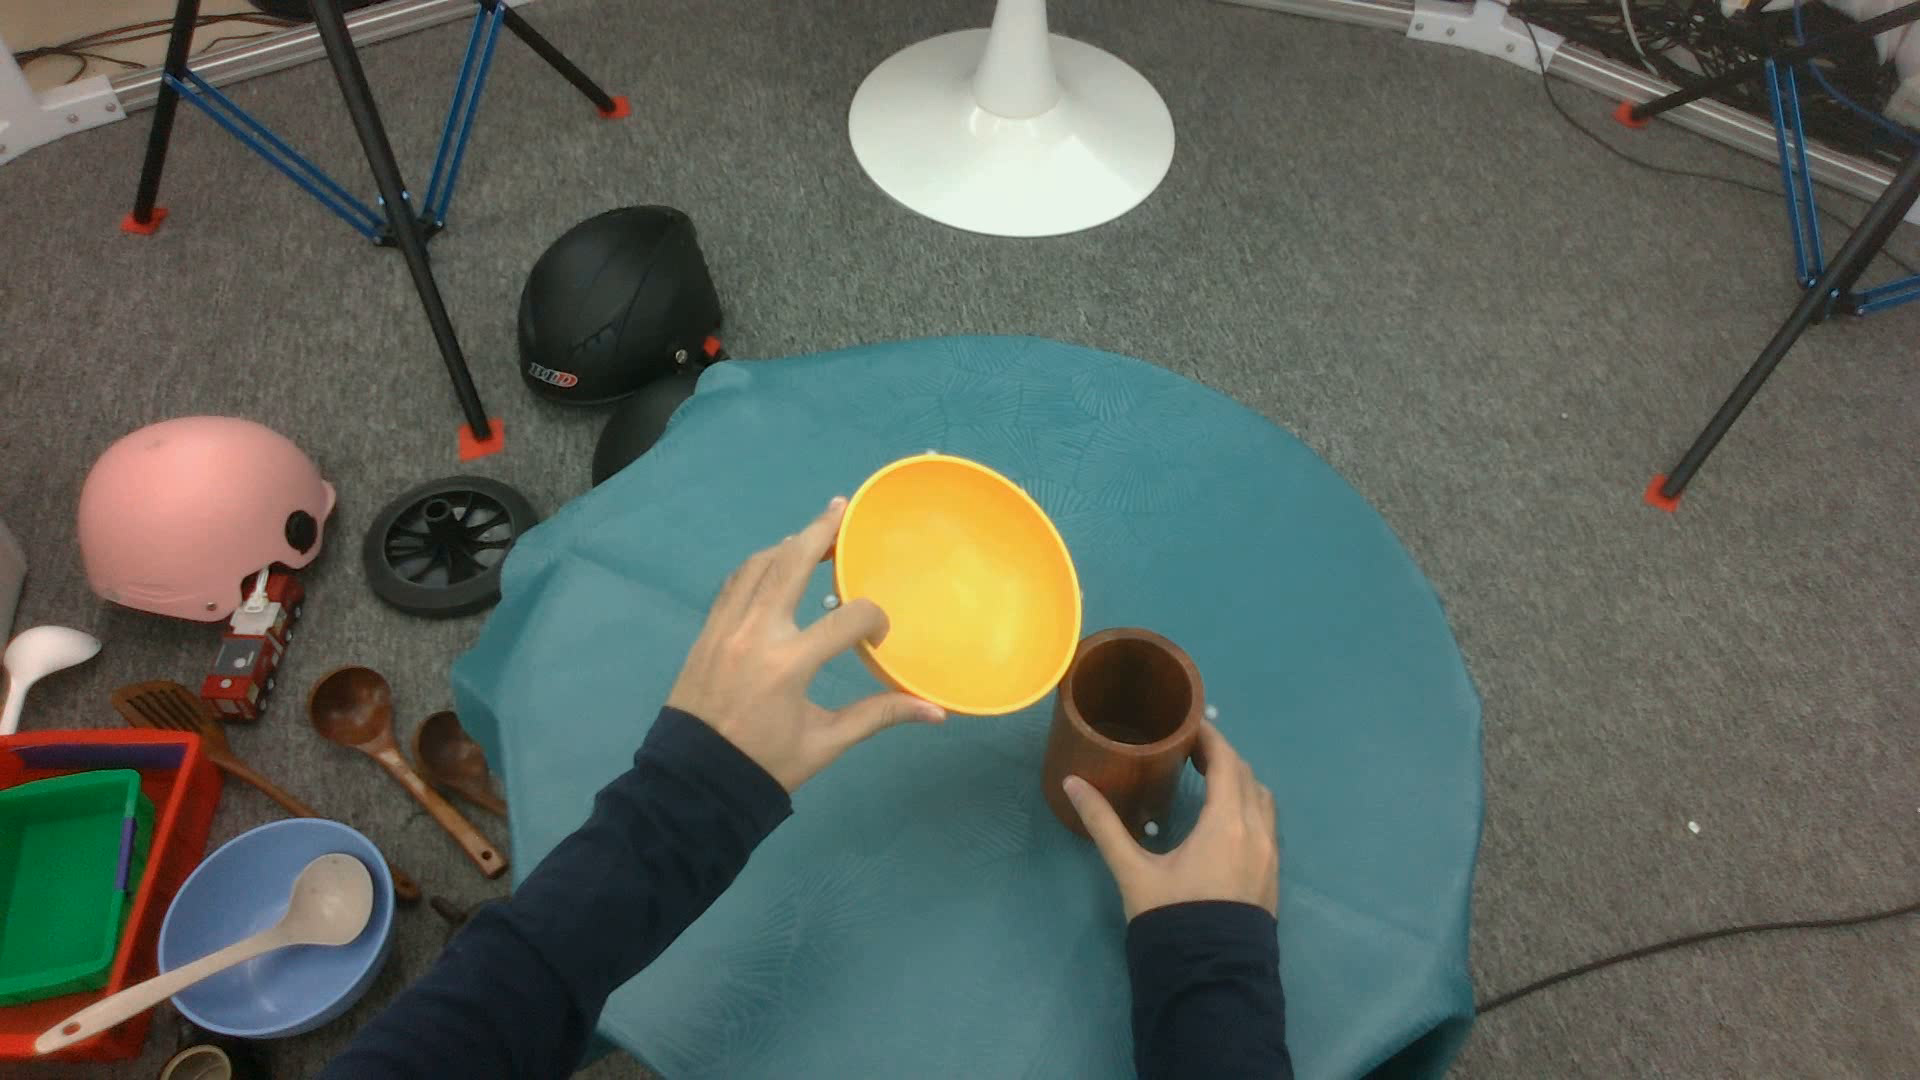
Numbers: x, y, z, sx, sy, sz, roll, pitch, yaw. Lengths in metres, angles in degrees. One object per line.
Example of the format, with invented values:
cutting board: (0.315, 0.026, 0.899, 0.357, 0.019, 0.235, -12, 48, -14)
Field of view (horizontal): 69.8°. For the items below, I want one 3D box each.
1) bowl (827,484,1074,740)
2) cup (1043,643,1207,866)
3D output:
bowl: (-0.014, 0.046, 0.746, 0.145, 0.060, 0.146, 14, 61, -26)
cup: (0.091, 0.124, 0.783, 0.088, 0.118, 0.088, 0, 51, 0)
